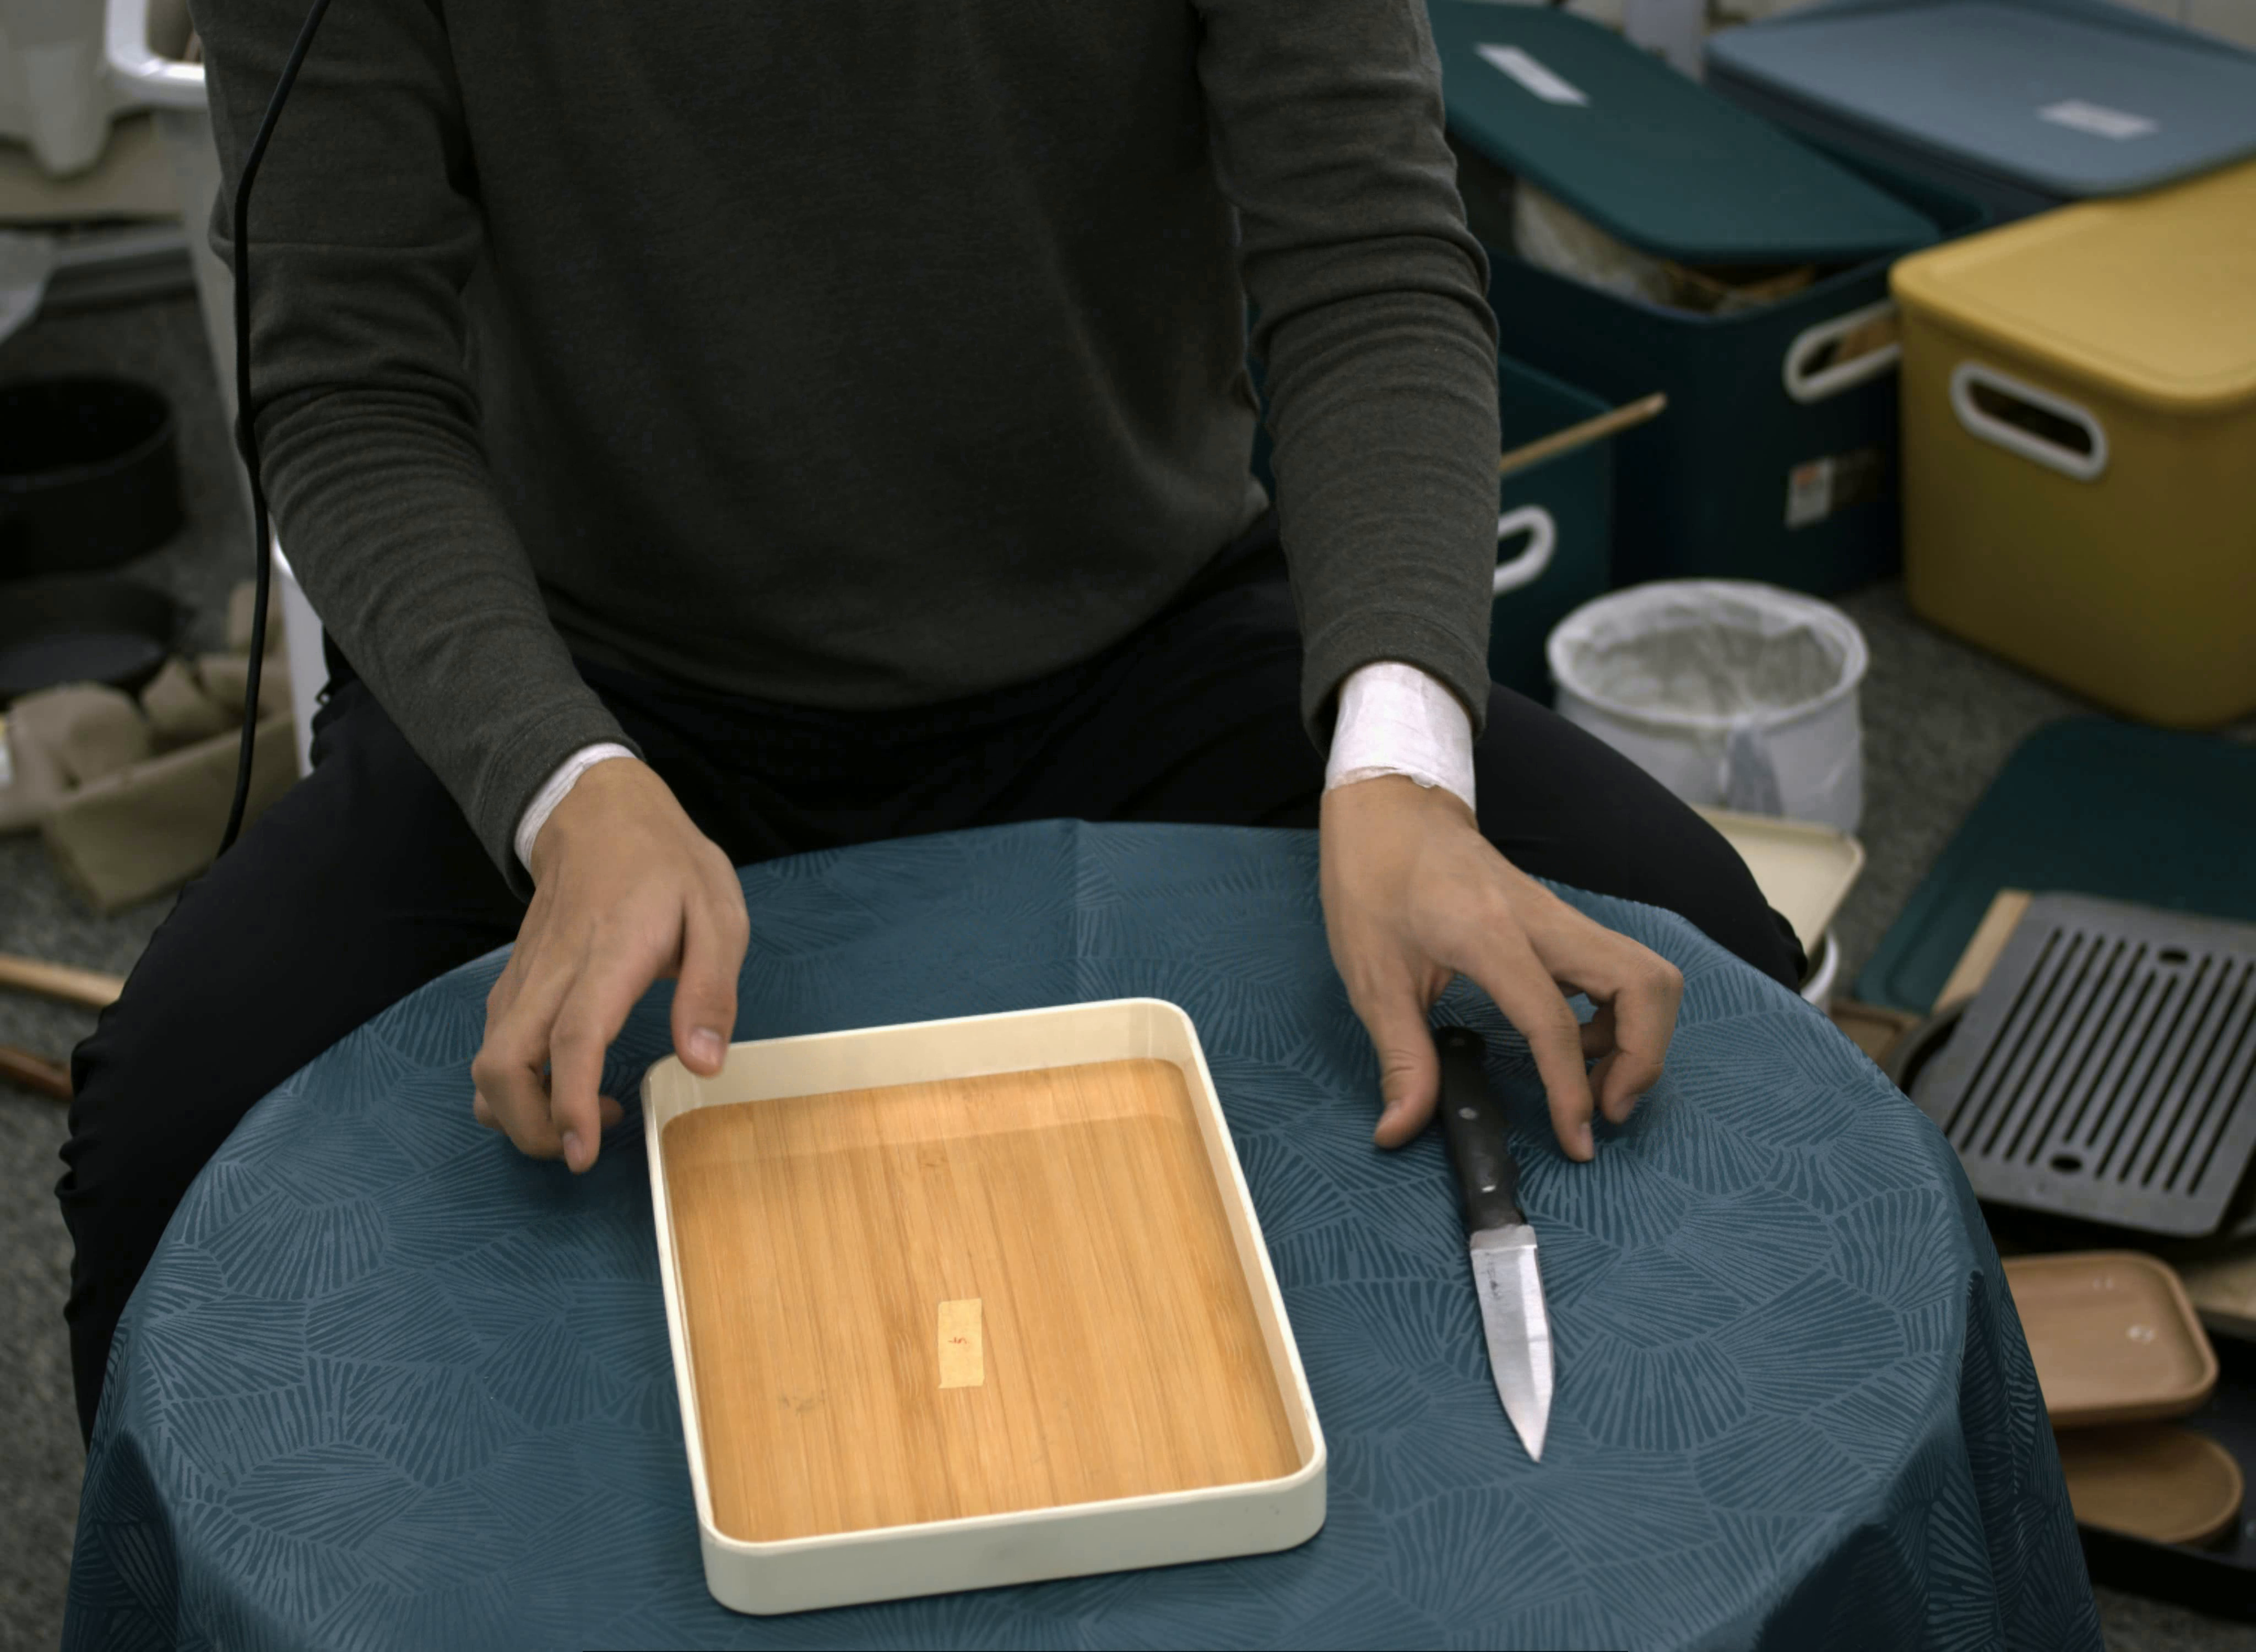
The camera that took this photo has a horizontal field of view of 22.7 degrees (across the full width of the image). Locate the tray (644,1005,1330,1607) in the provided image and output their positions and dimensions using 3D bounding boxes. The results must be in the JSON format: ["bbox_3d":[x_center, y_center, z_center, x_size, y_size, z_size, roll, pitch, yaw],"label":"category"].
[{"bbox_3d":[-0.051,0.147,1.789,0.191,0.027,0.304,-5,27,-6],"label":"tray"}]

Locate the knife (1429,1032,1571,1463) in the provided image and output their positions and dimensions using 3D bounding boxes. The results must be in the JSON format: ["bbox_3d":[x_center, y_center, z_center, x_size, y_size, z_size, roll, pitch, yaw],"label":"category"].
[{"bbox_3d":[0.119,0.135,1.813,0.024,0.016,0.242,-5,30,-2],"label":"knife"}]
